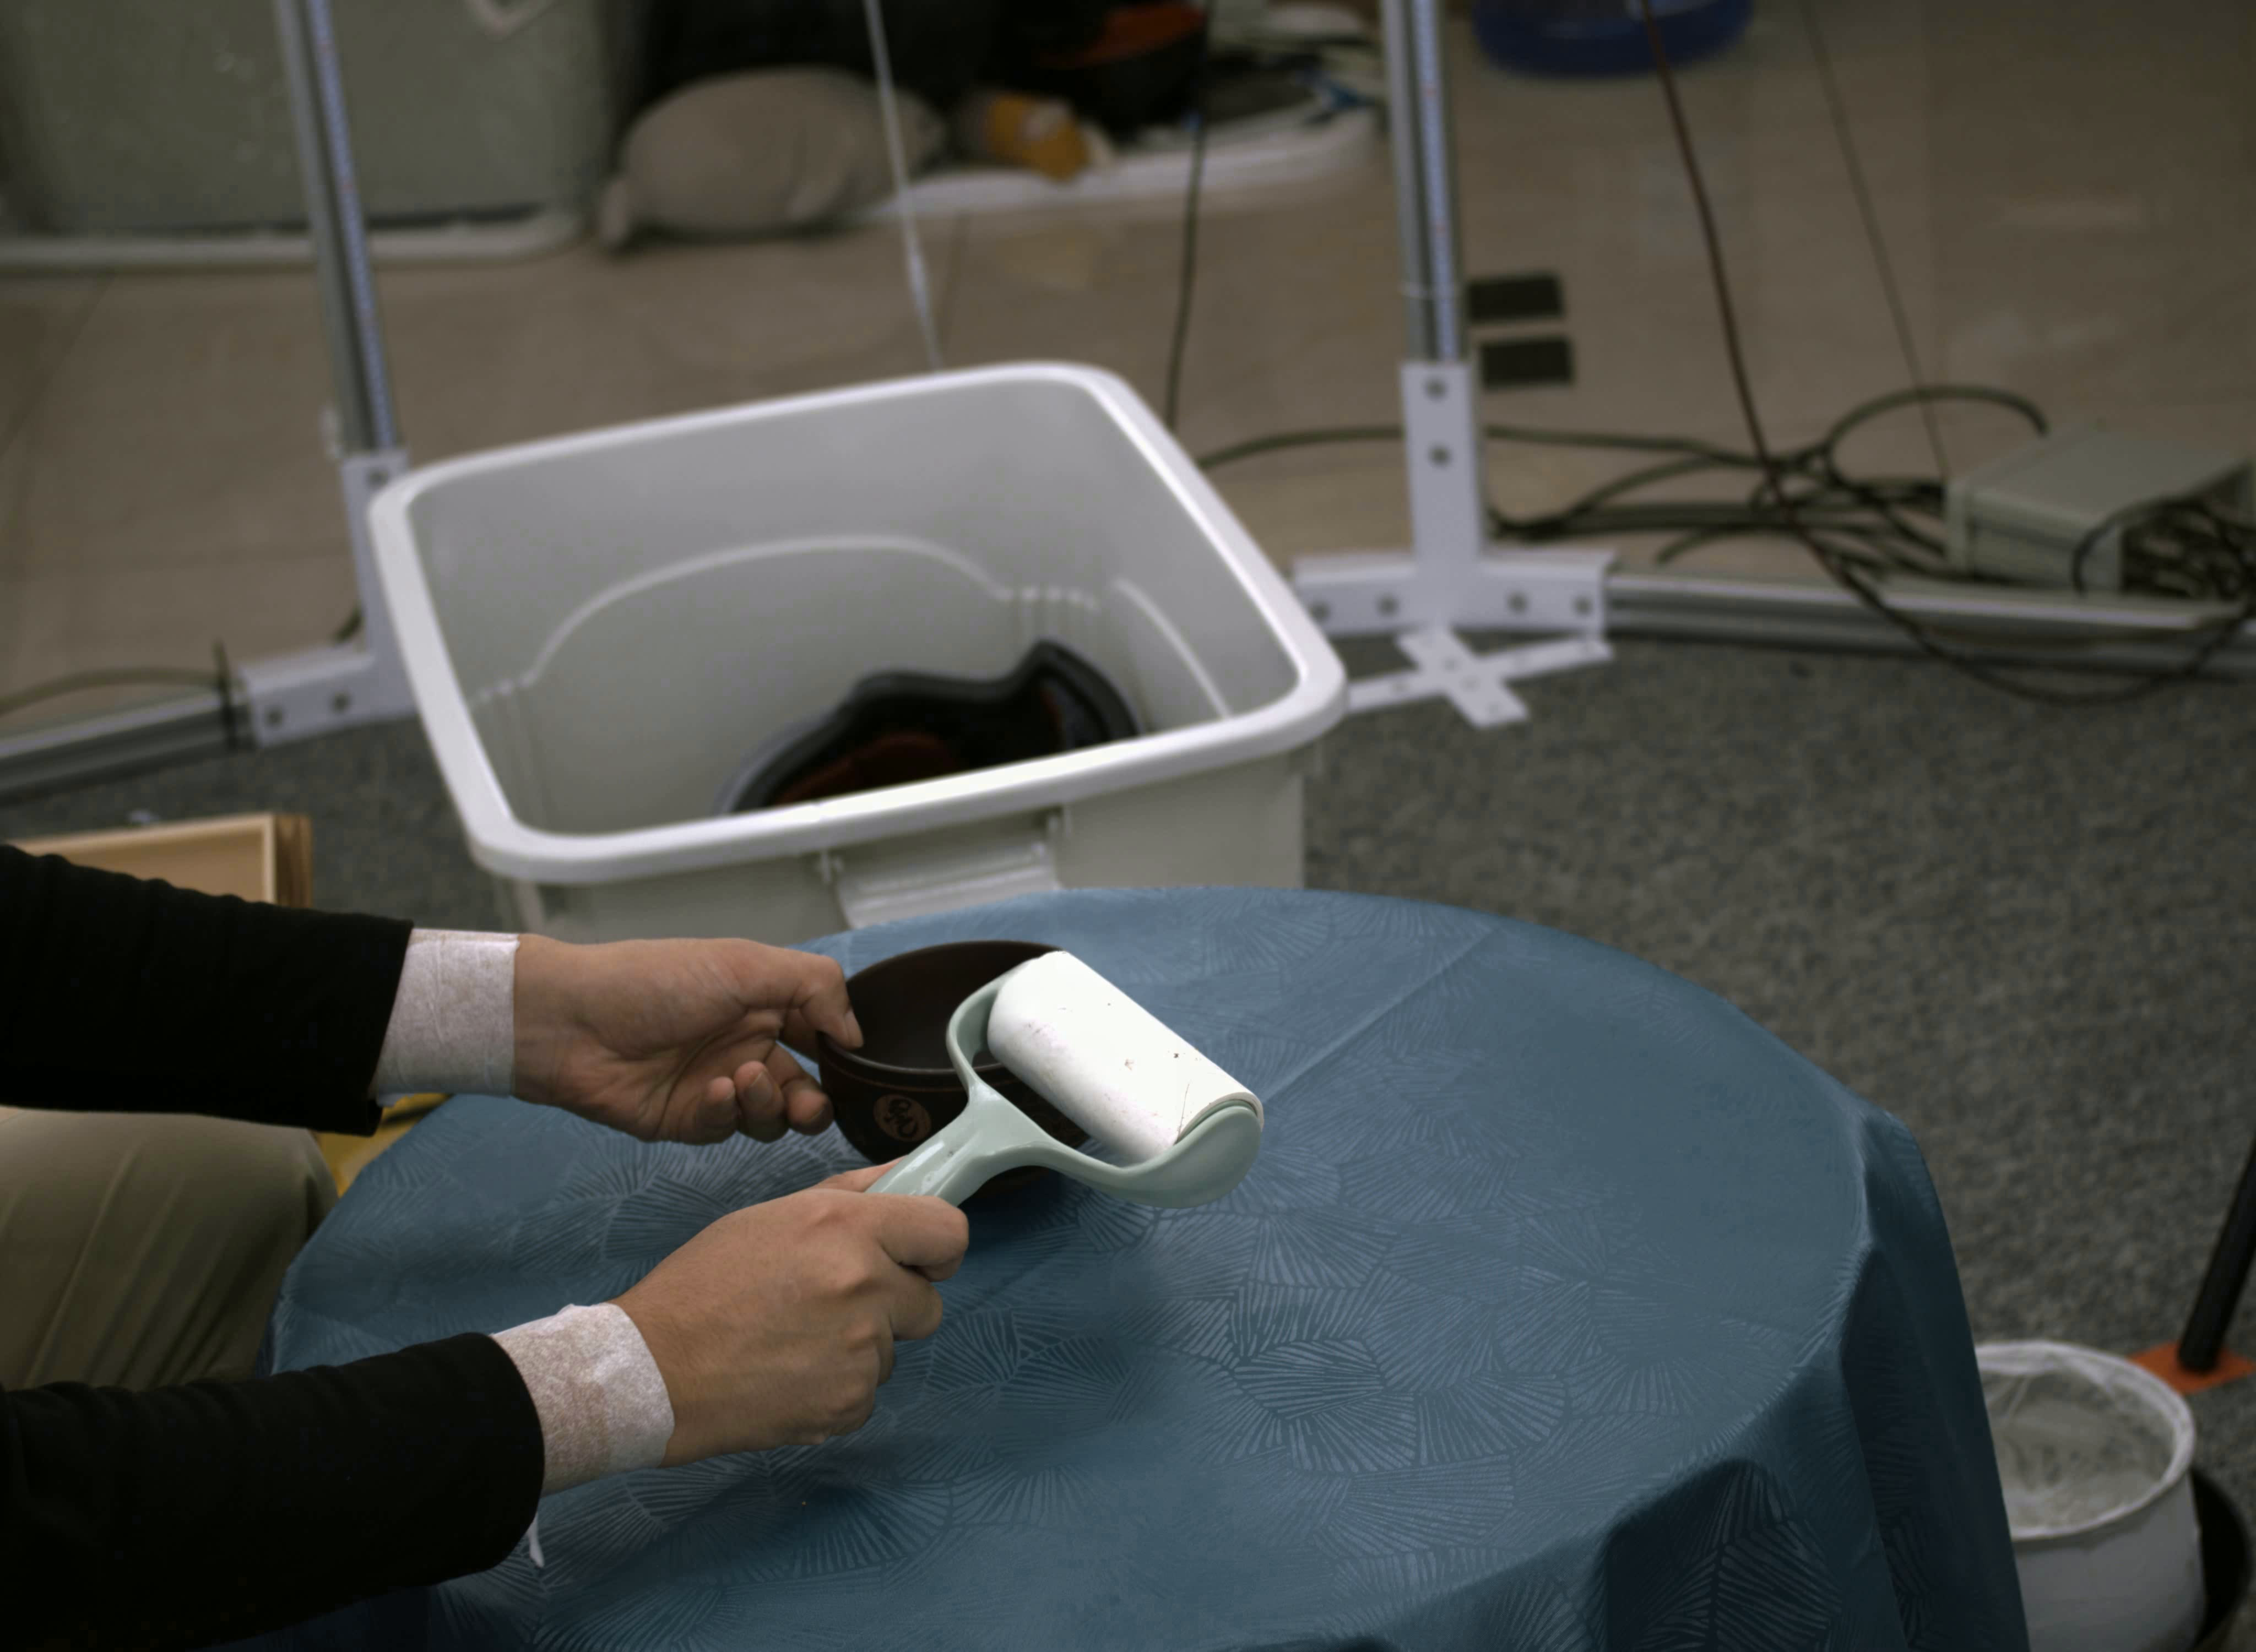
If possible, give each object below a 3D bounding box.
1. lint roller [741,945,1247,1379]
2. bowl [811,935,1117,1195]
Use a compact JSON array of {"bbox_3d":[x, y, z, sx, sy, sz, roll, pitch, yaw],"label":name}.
[{"bbox_3d":[-0.063,0.124,2.010,0.196,0.049,0.115,-34,51,-24],"label":"lint roller"},{"bbox_3d":[-0.060,0.097,2.166,0.118,0.071,0.116,-6,26,3],"label":"bowl"}]
